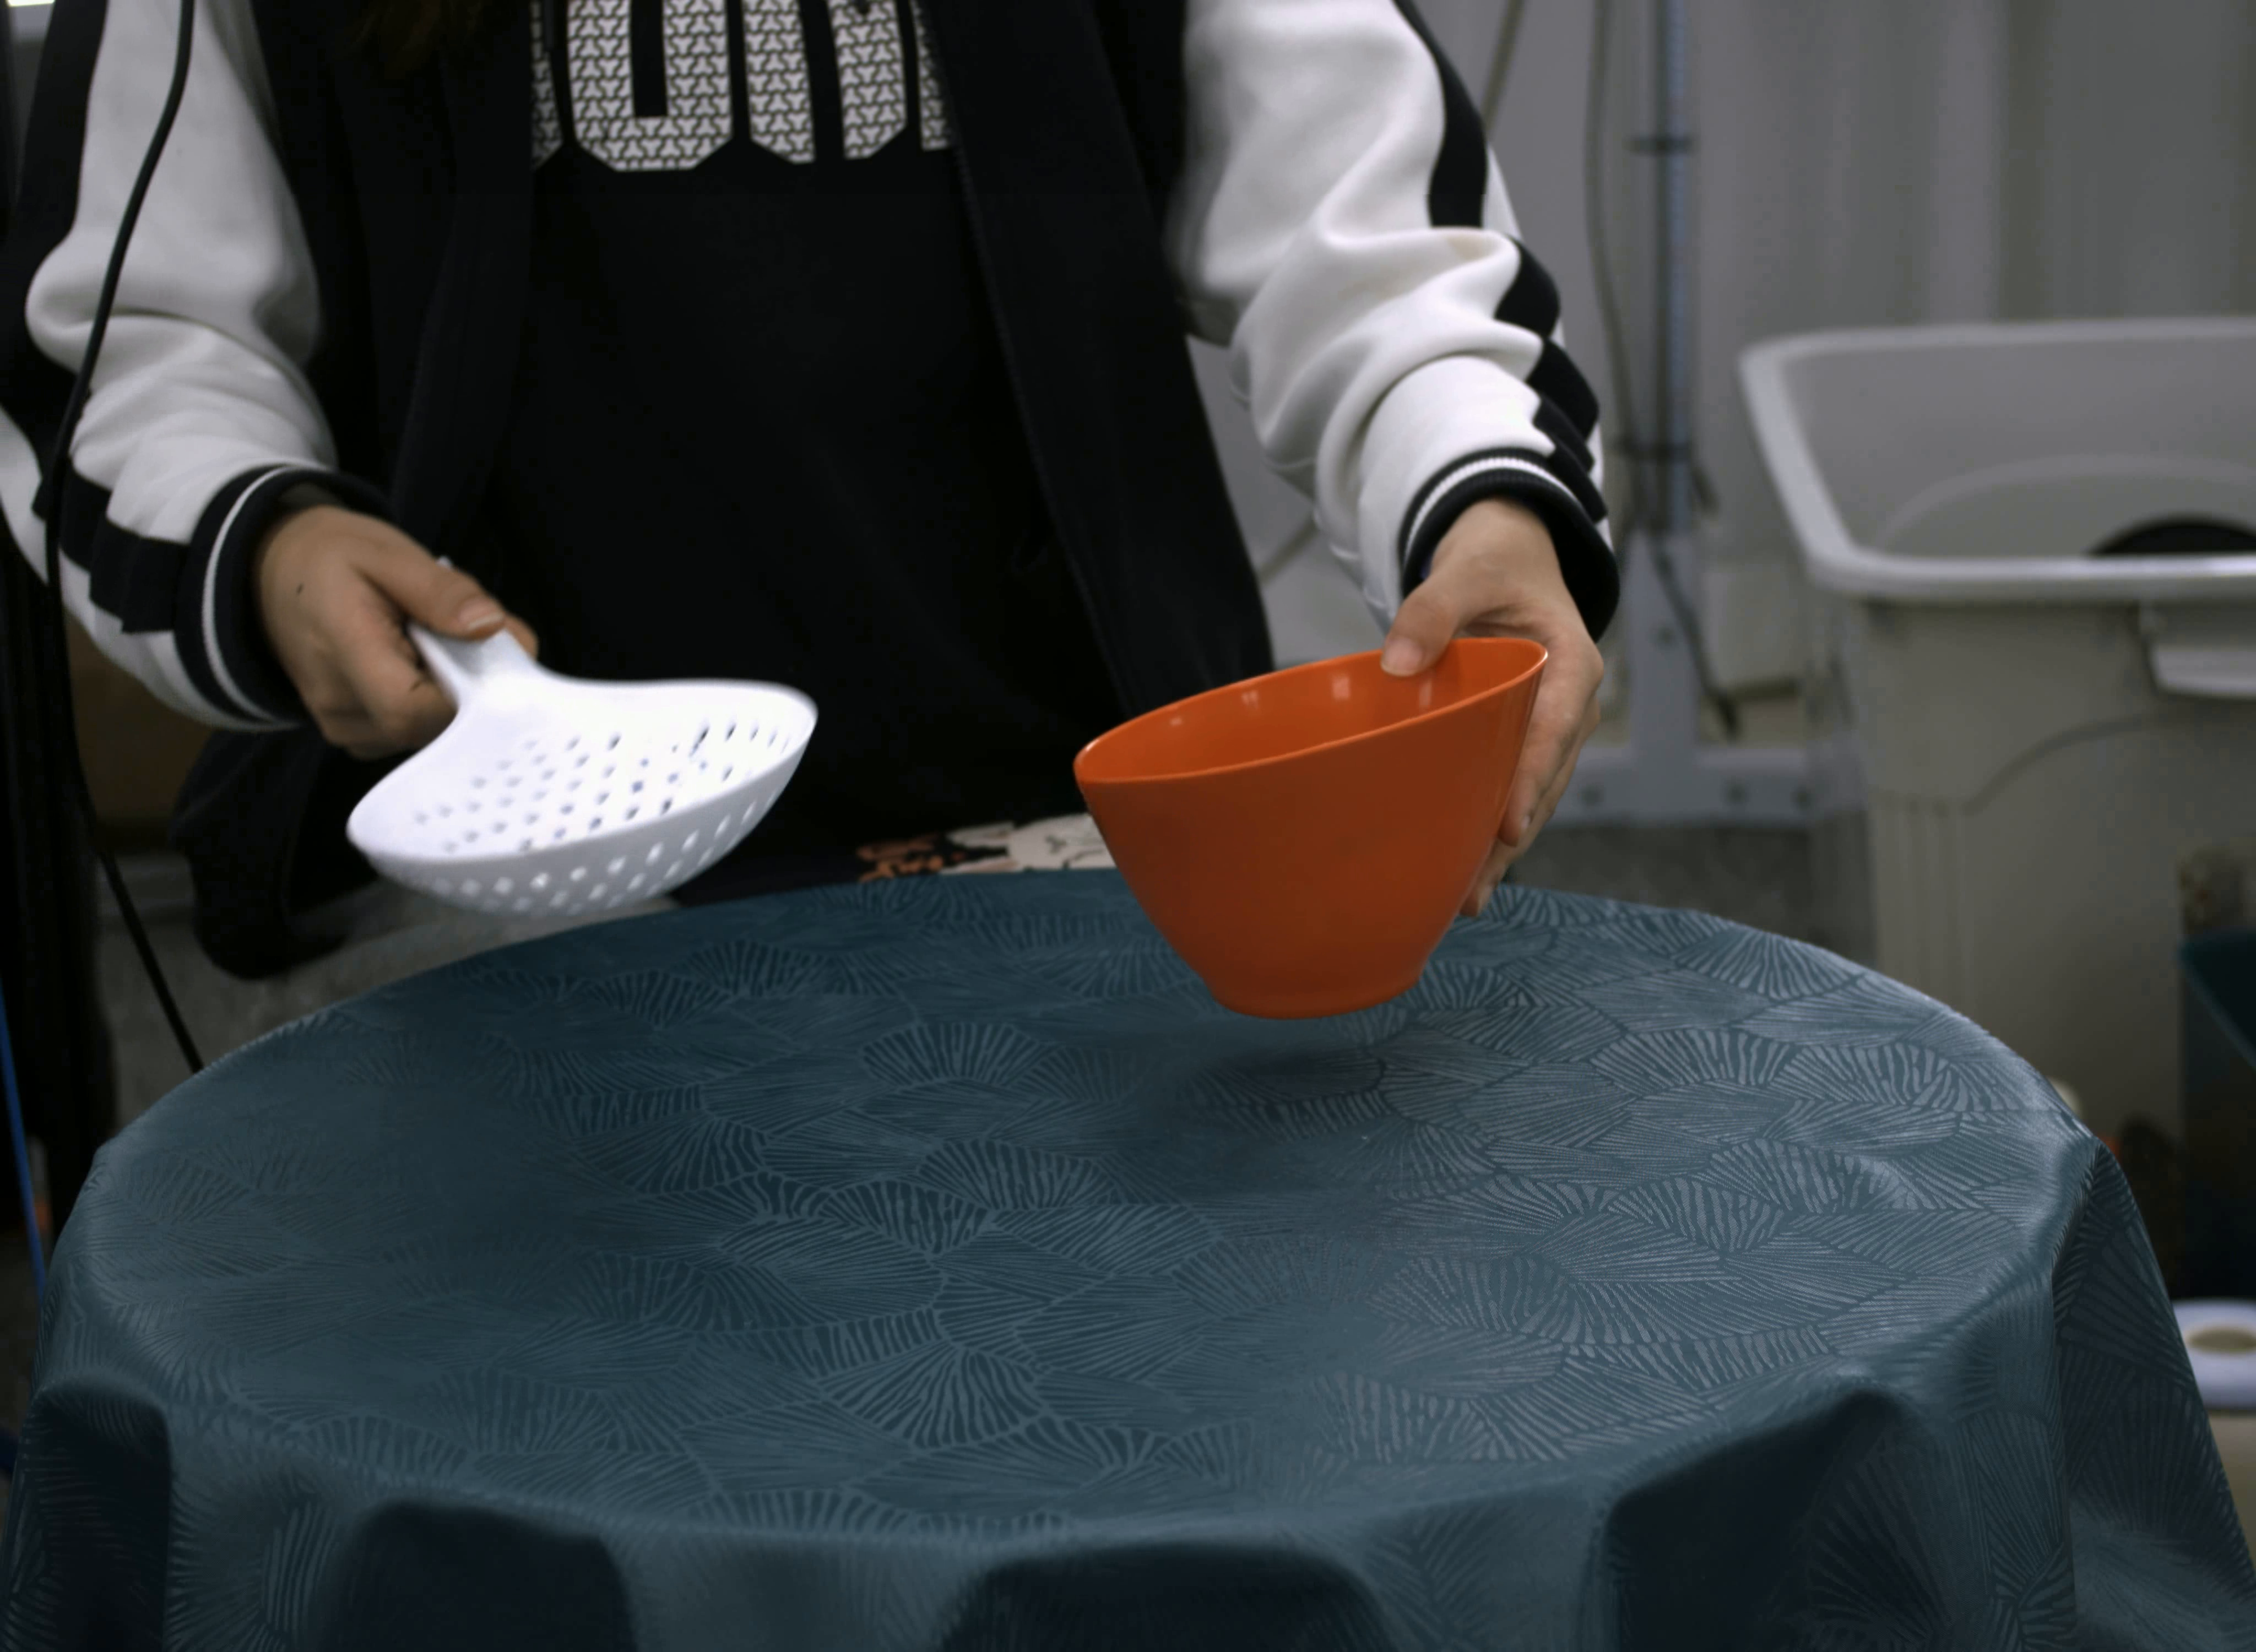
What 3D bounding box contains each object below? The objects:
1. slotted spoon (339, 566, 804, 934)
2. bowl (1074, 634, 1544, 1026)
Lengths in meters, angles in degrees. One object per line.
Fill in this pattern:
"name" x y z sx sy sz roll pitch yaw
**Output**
"slotted spoon" -0.189 -0.033 1.622 0.134 0.045 0.356 -16 23 -12
"bowl" 0.061 0.003 1.627 0.147 0.104 0.149 -10 18 2
